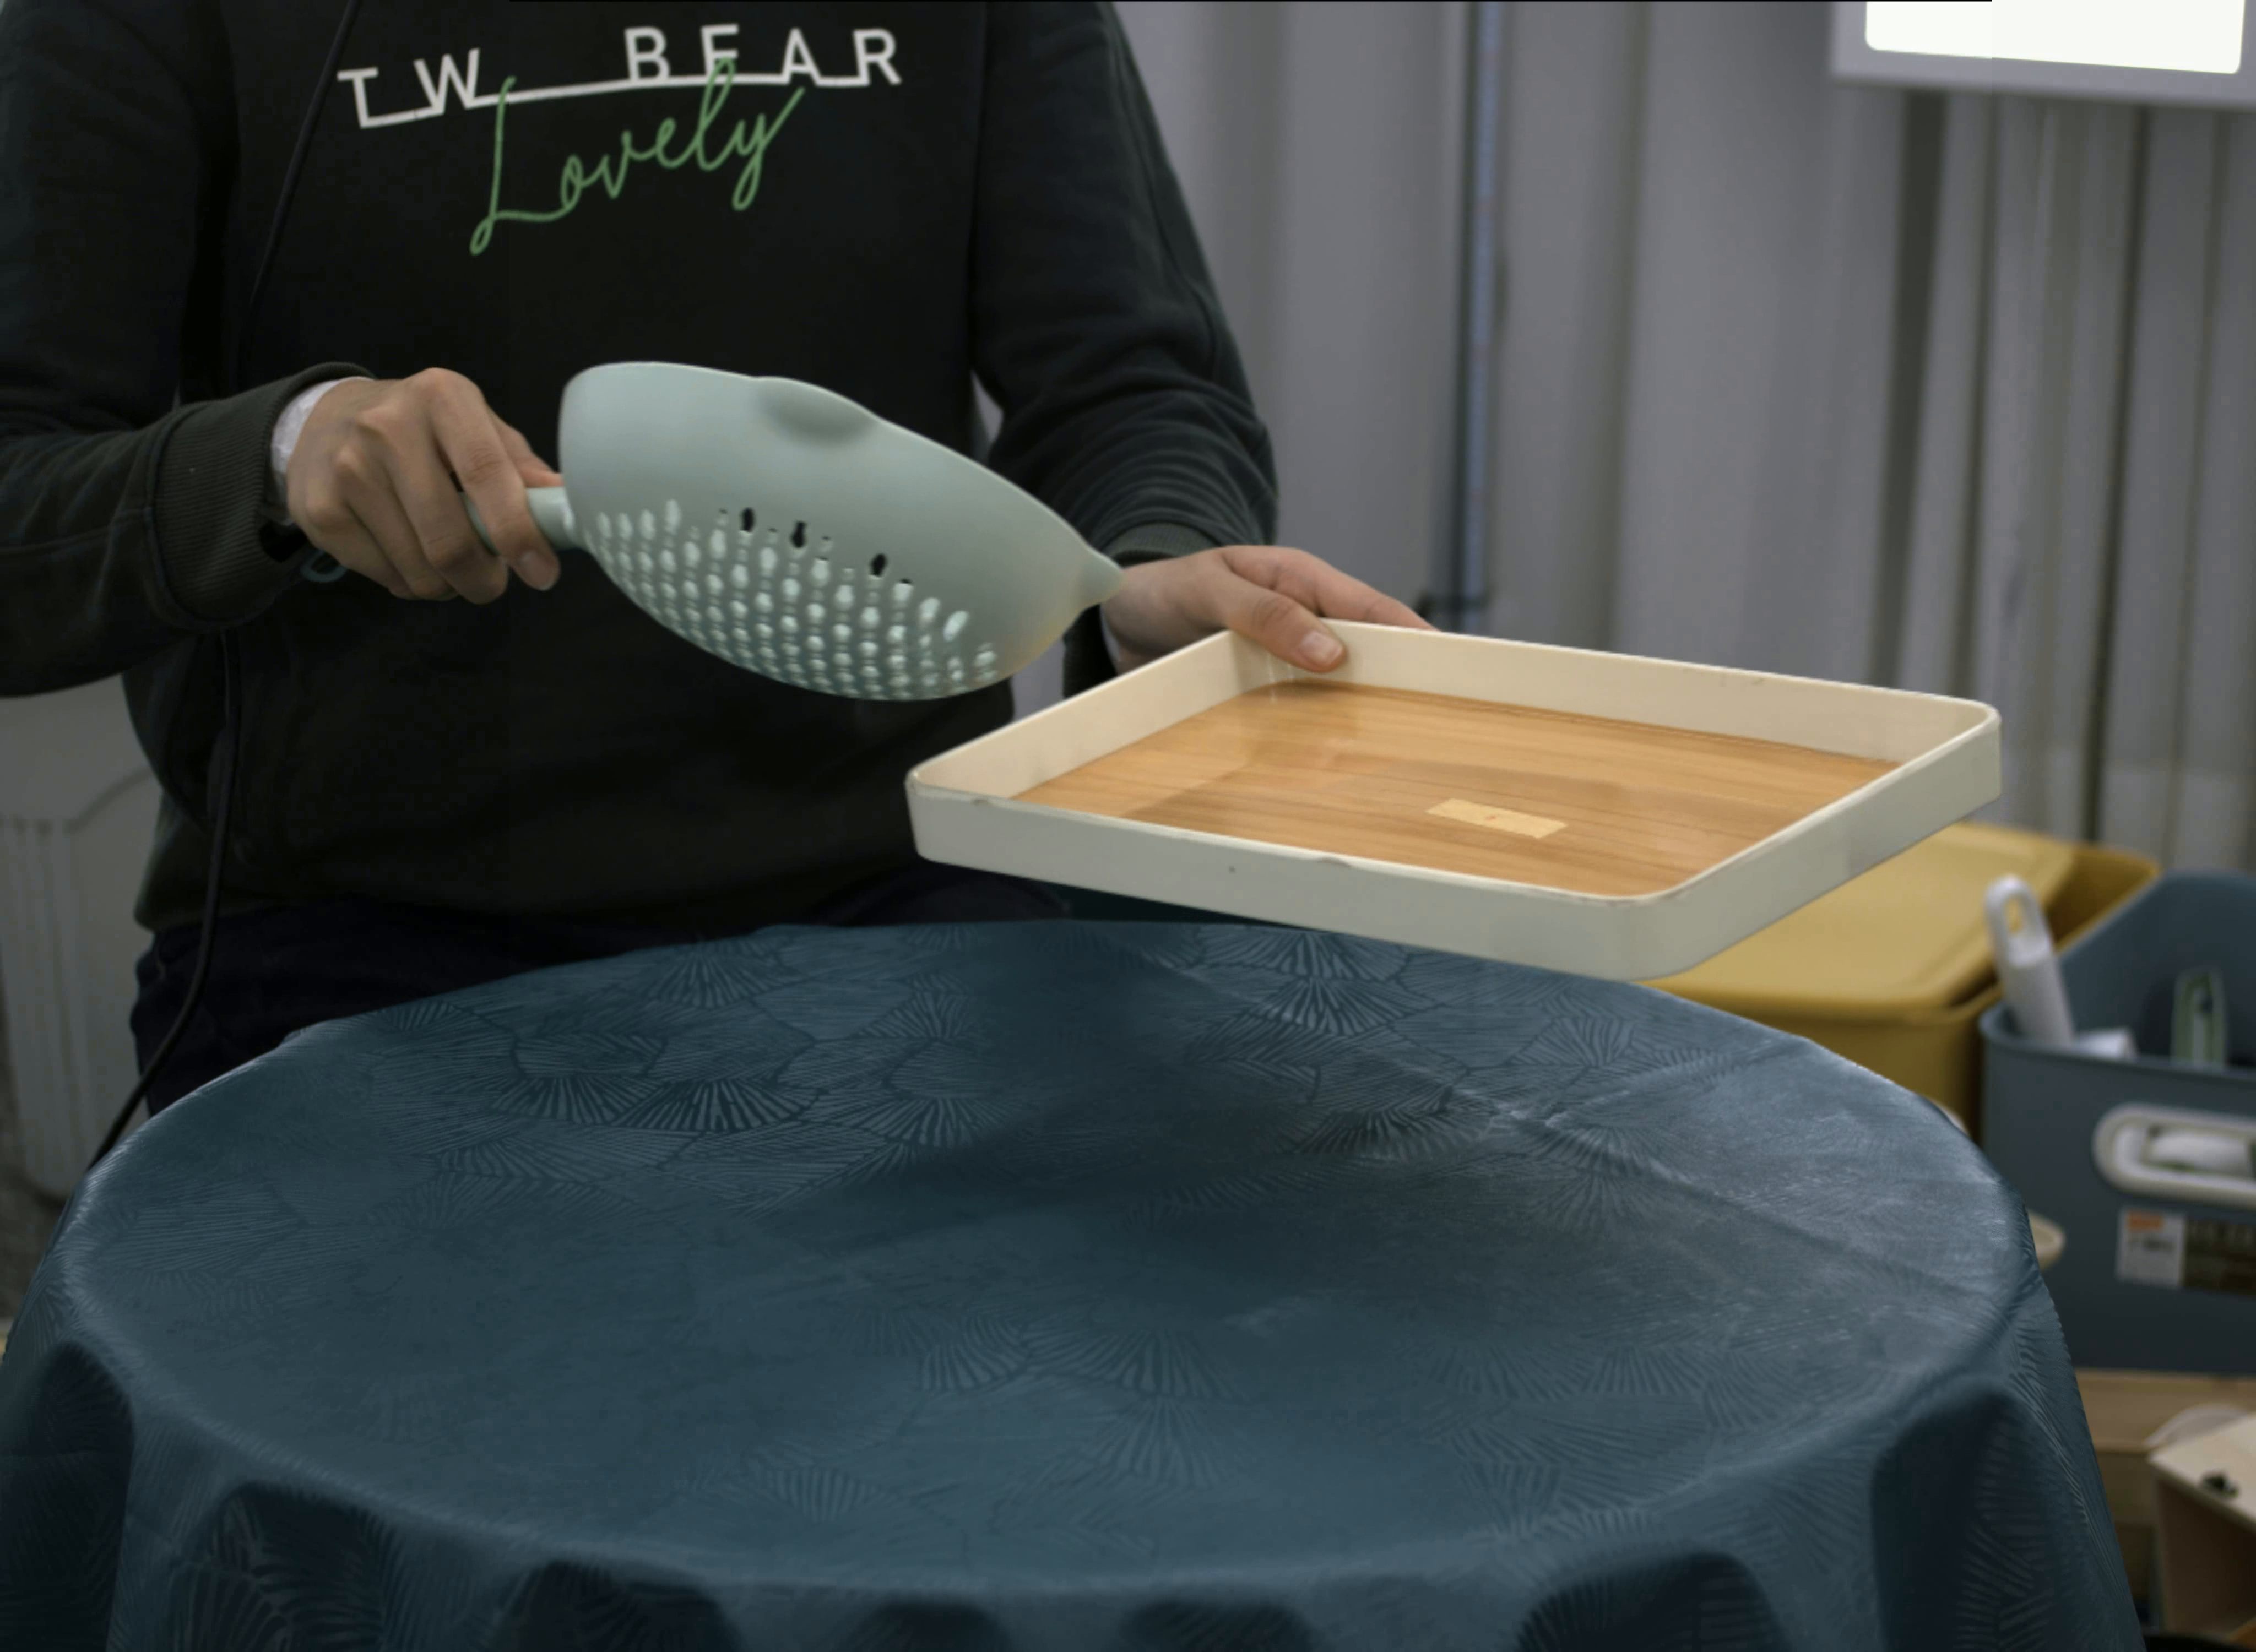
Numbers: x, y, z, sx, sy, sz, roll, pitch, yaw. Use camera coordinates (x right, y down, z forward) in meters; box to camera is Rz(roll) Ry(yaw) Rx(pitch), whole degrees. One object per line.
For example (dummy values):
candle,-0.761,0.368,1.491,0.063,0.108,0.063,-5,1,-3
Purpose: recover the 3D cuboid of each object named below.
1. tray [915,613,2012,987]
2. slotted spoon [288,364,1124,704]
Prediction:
tray,0.100,-0.012,1.612,0.296,0.027,0.192,10,25,41
slotted spoon,-0.158,-0.091,1.640,0.171,0.075,0.354,31,-11,-38
